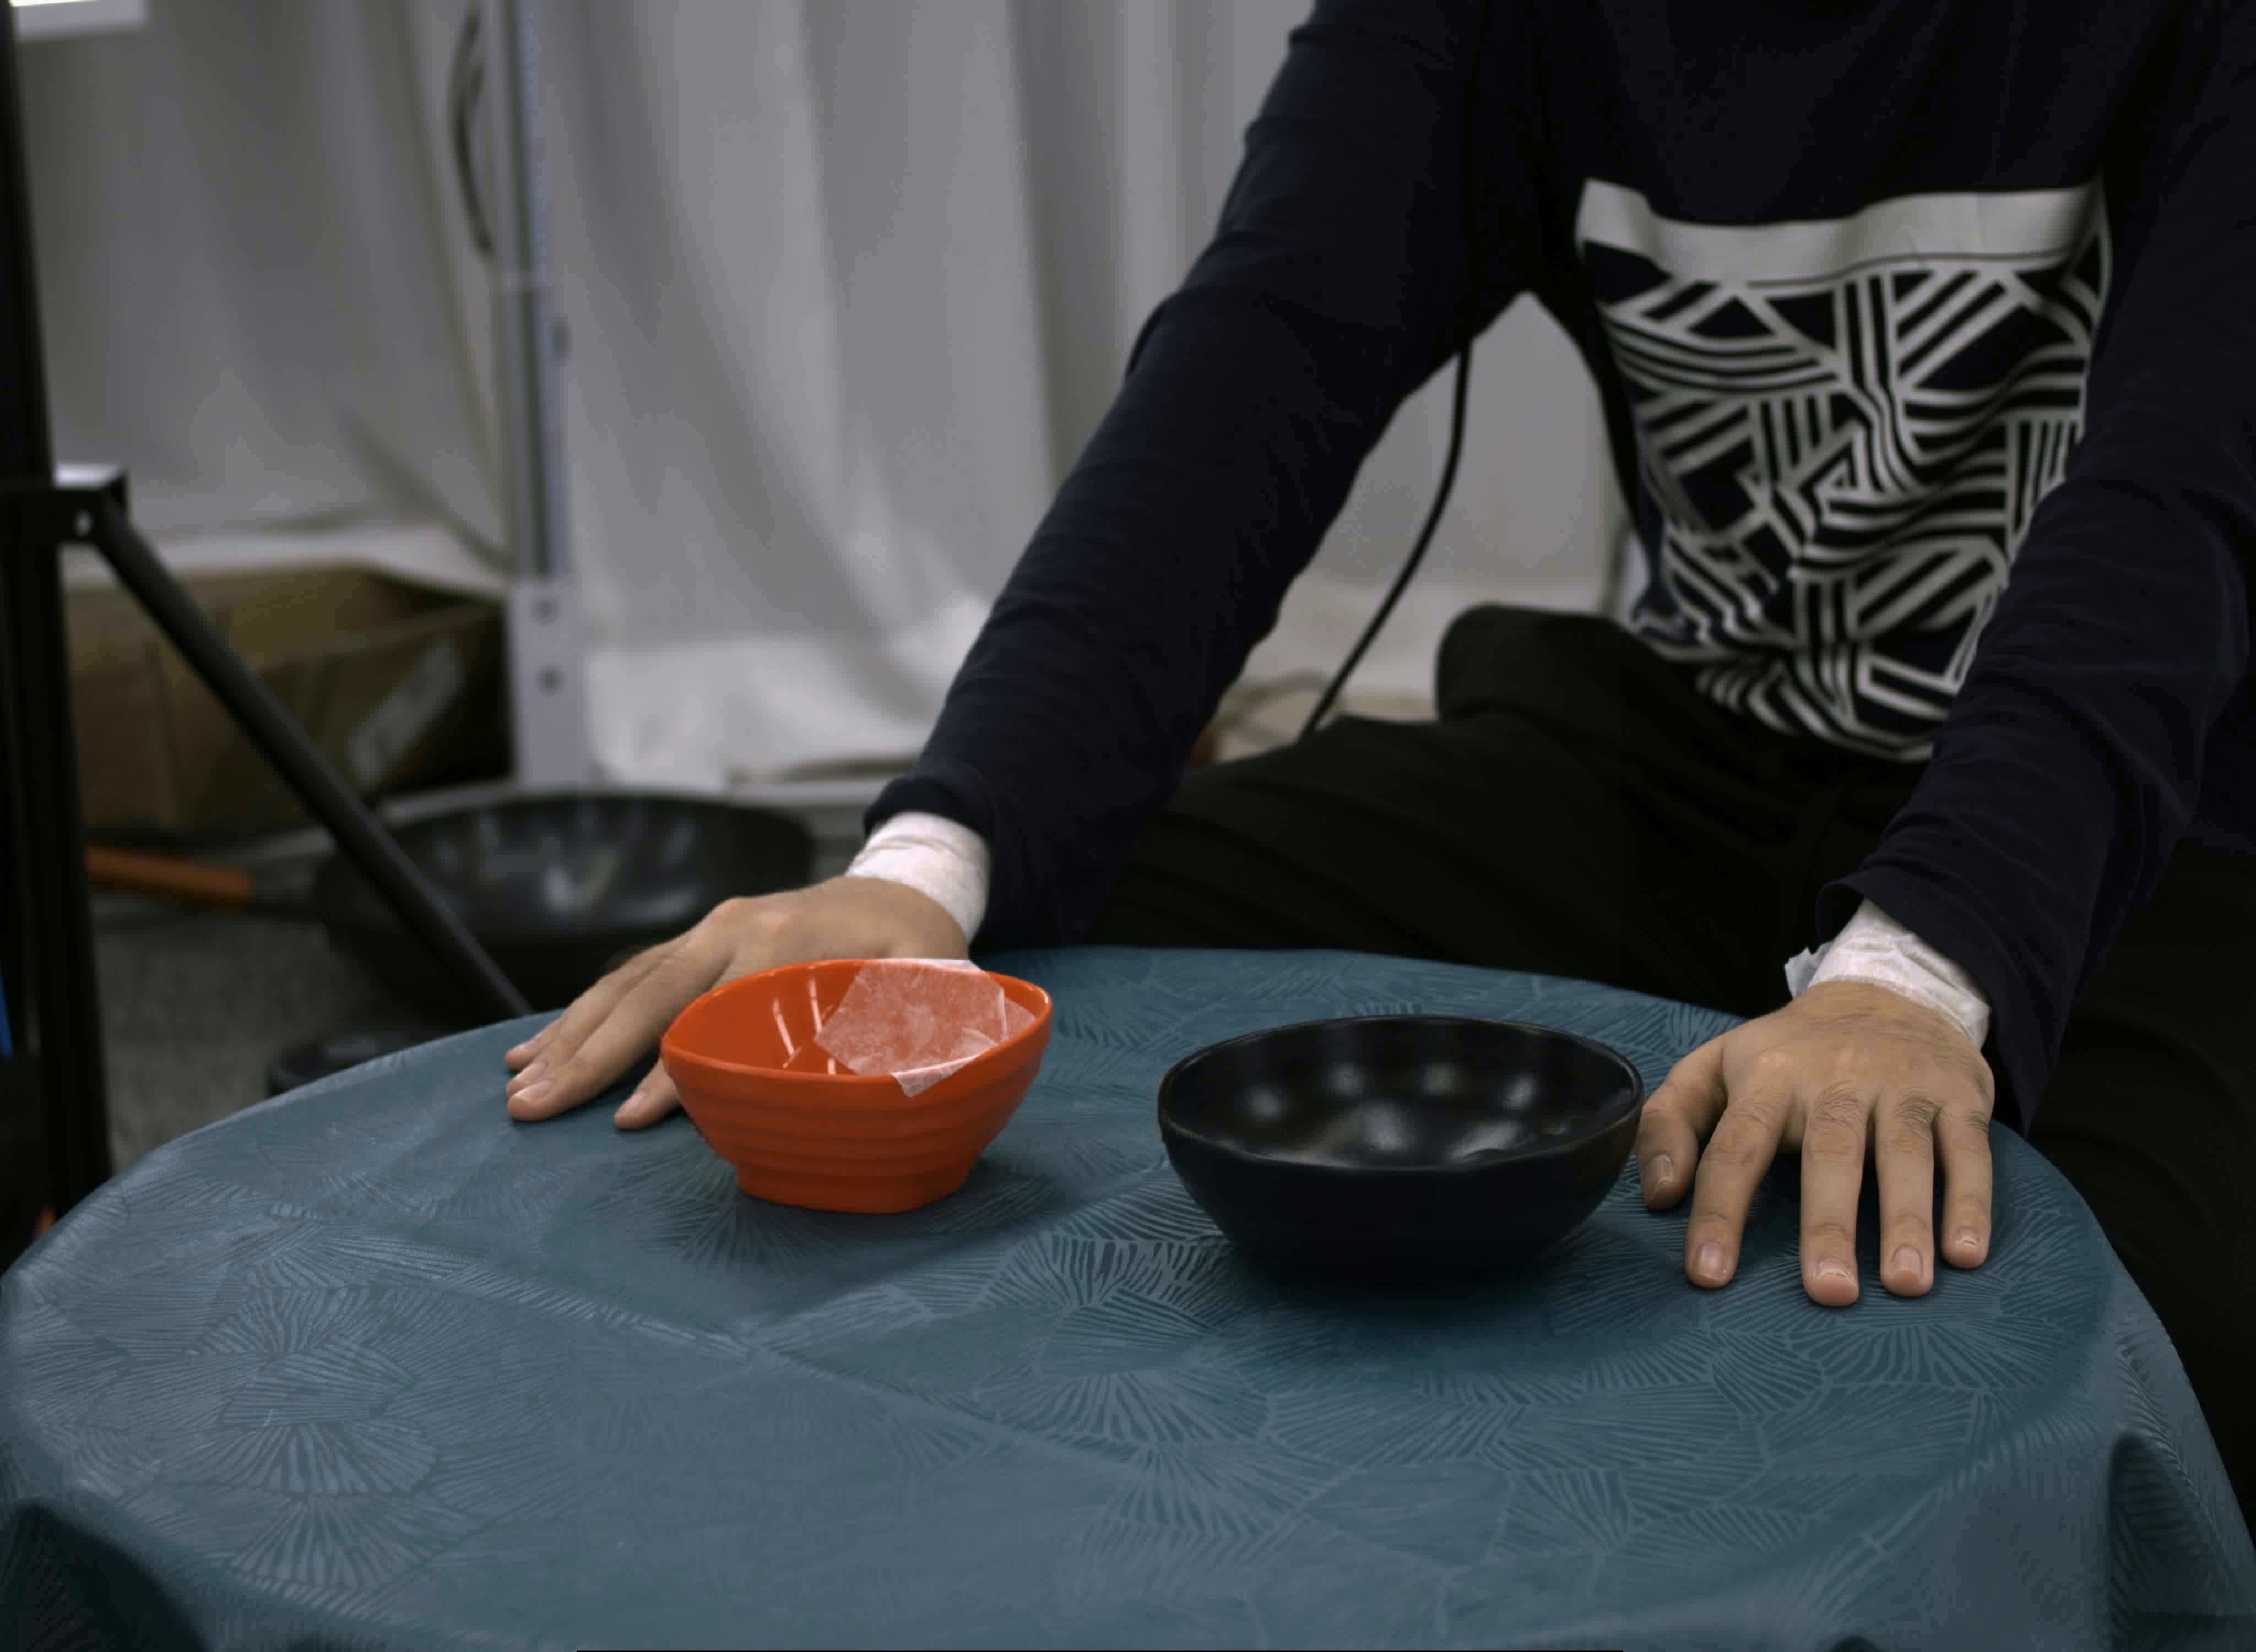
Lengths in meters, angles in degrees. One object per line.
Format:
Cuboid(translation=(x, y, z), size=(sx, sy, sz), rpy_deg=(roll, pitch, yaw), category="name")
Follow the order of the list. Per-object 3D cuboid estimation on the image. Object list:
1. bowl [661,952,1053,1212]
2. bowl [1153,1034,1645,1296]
Cuboid(translation=(-0.078, 0.079, 1.582), size=(0.118, 0.051, 0.119), rpy_deg=(-4, 16, 0), category="bowl")
Cuboid(translation=(0.076, 0.100, 1.499), size=(0.139, 0.050, 0.140), rpy_deg=(0, 12, -1), category="bowl")
